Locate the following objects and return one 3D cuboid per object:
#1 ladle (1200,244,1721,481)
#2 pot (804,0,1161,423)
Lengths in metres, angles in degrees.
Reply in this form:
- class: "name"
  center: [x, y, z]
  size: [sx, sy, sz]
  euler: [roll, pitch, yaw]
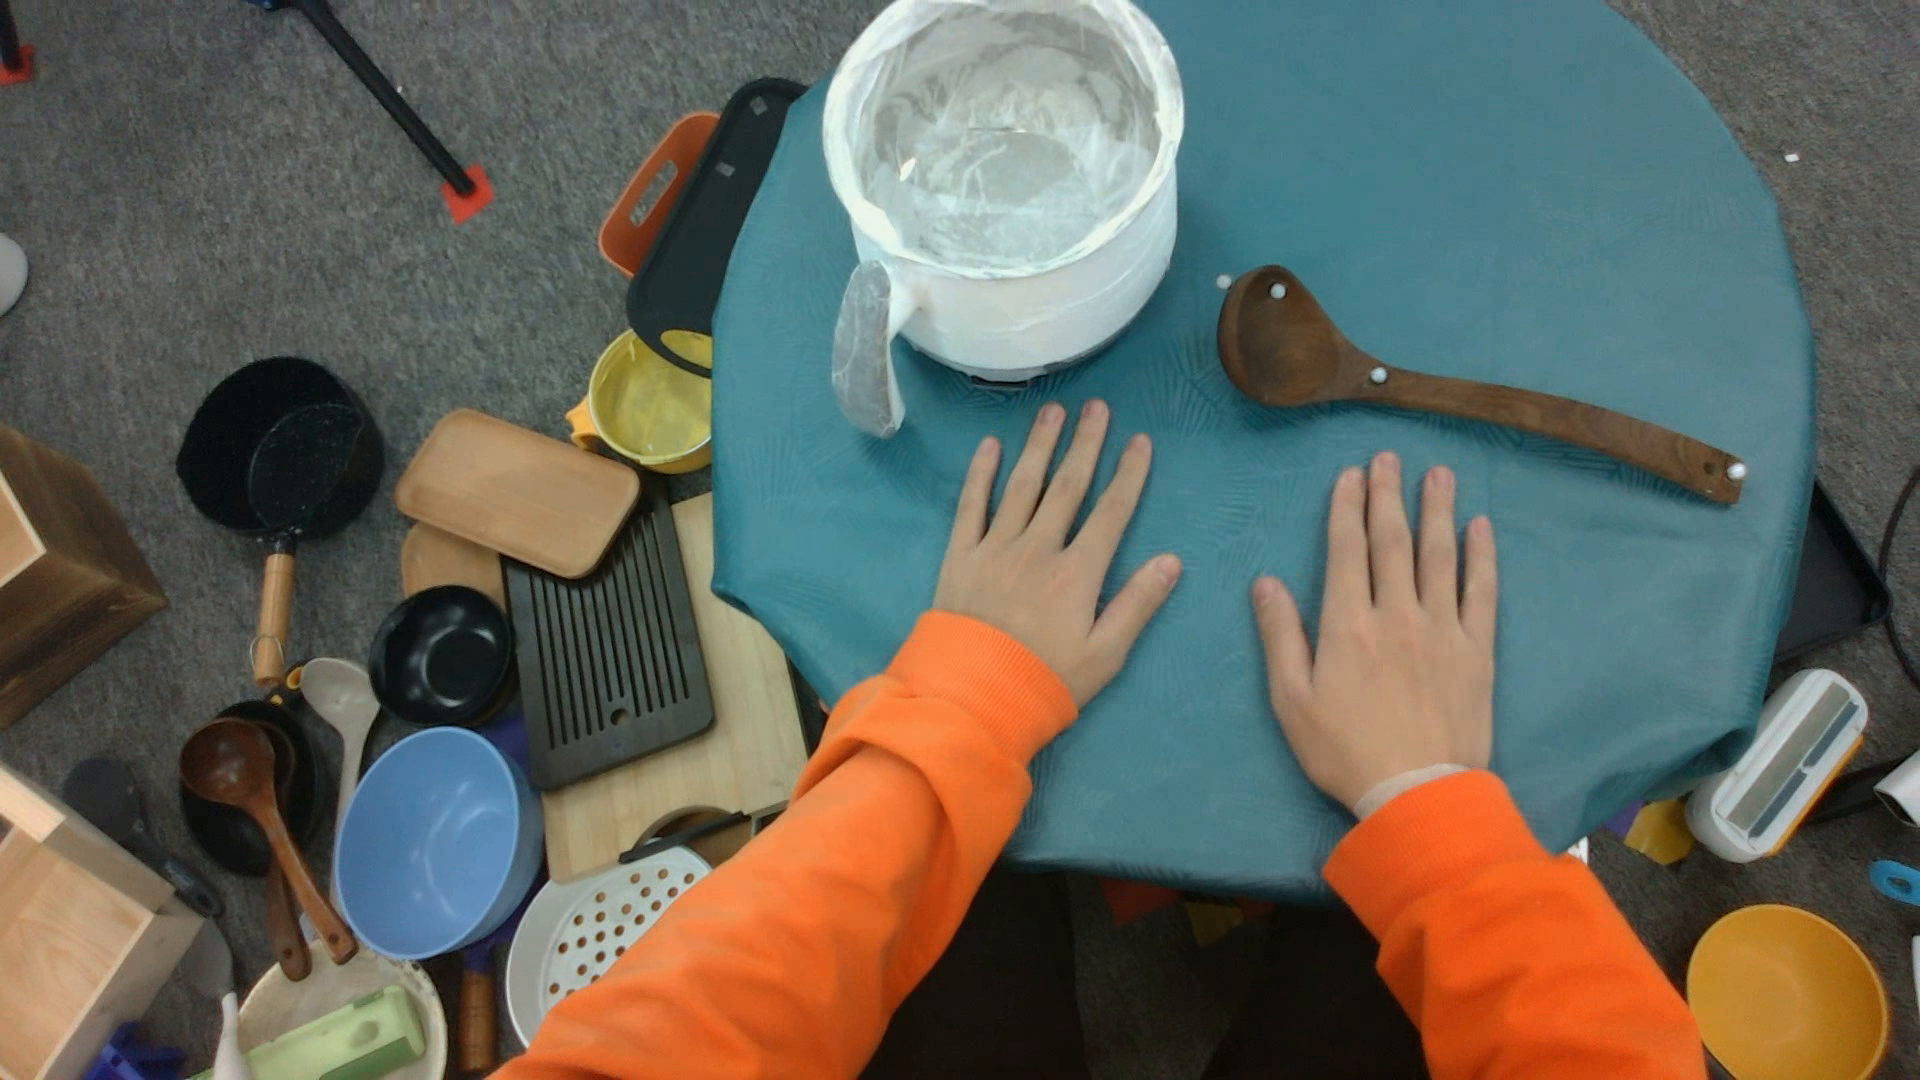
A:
- class: "ladle"
  center: [0.258, -0.087, 0.707]
  size: [0.274, 0.071, 0.076]
  euler: [16, 77, 12]
- class: "pot"
  center: [0.001, -0.172, 0.727]
  size: [0.179, 0.136, 0.234]
  euler: [32, 78, 16]
